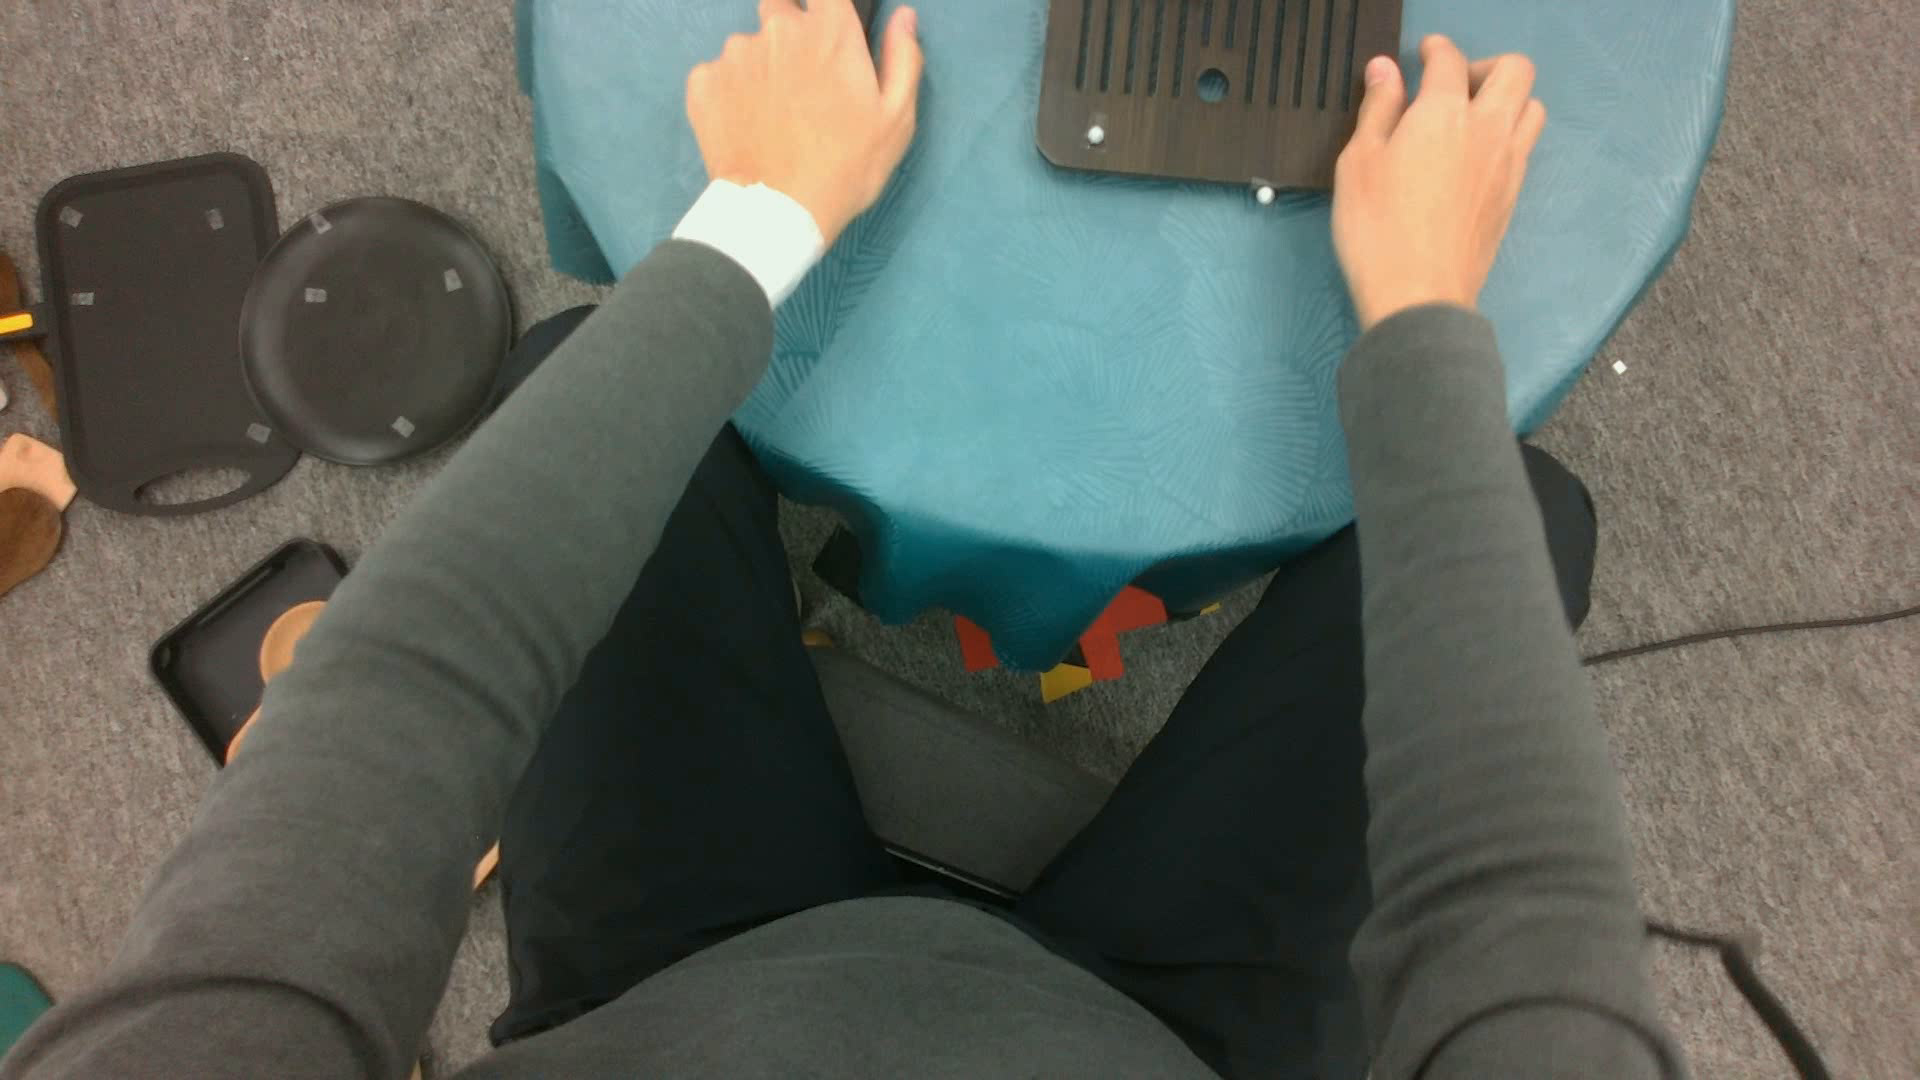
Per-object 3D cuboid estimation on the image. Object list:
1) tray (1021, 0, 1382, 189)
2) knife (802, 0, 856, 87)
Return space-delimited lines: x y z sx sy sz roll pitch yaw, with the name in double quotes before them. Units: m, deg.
"tray" 0.127 -0.328 0.683 0.170 0.018 0.306 5 86 1
"knife" -0.046 -0.339 0.689 0.024 0.016 0.238 10 83 4
